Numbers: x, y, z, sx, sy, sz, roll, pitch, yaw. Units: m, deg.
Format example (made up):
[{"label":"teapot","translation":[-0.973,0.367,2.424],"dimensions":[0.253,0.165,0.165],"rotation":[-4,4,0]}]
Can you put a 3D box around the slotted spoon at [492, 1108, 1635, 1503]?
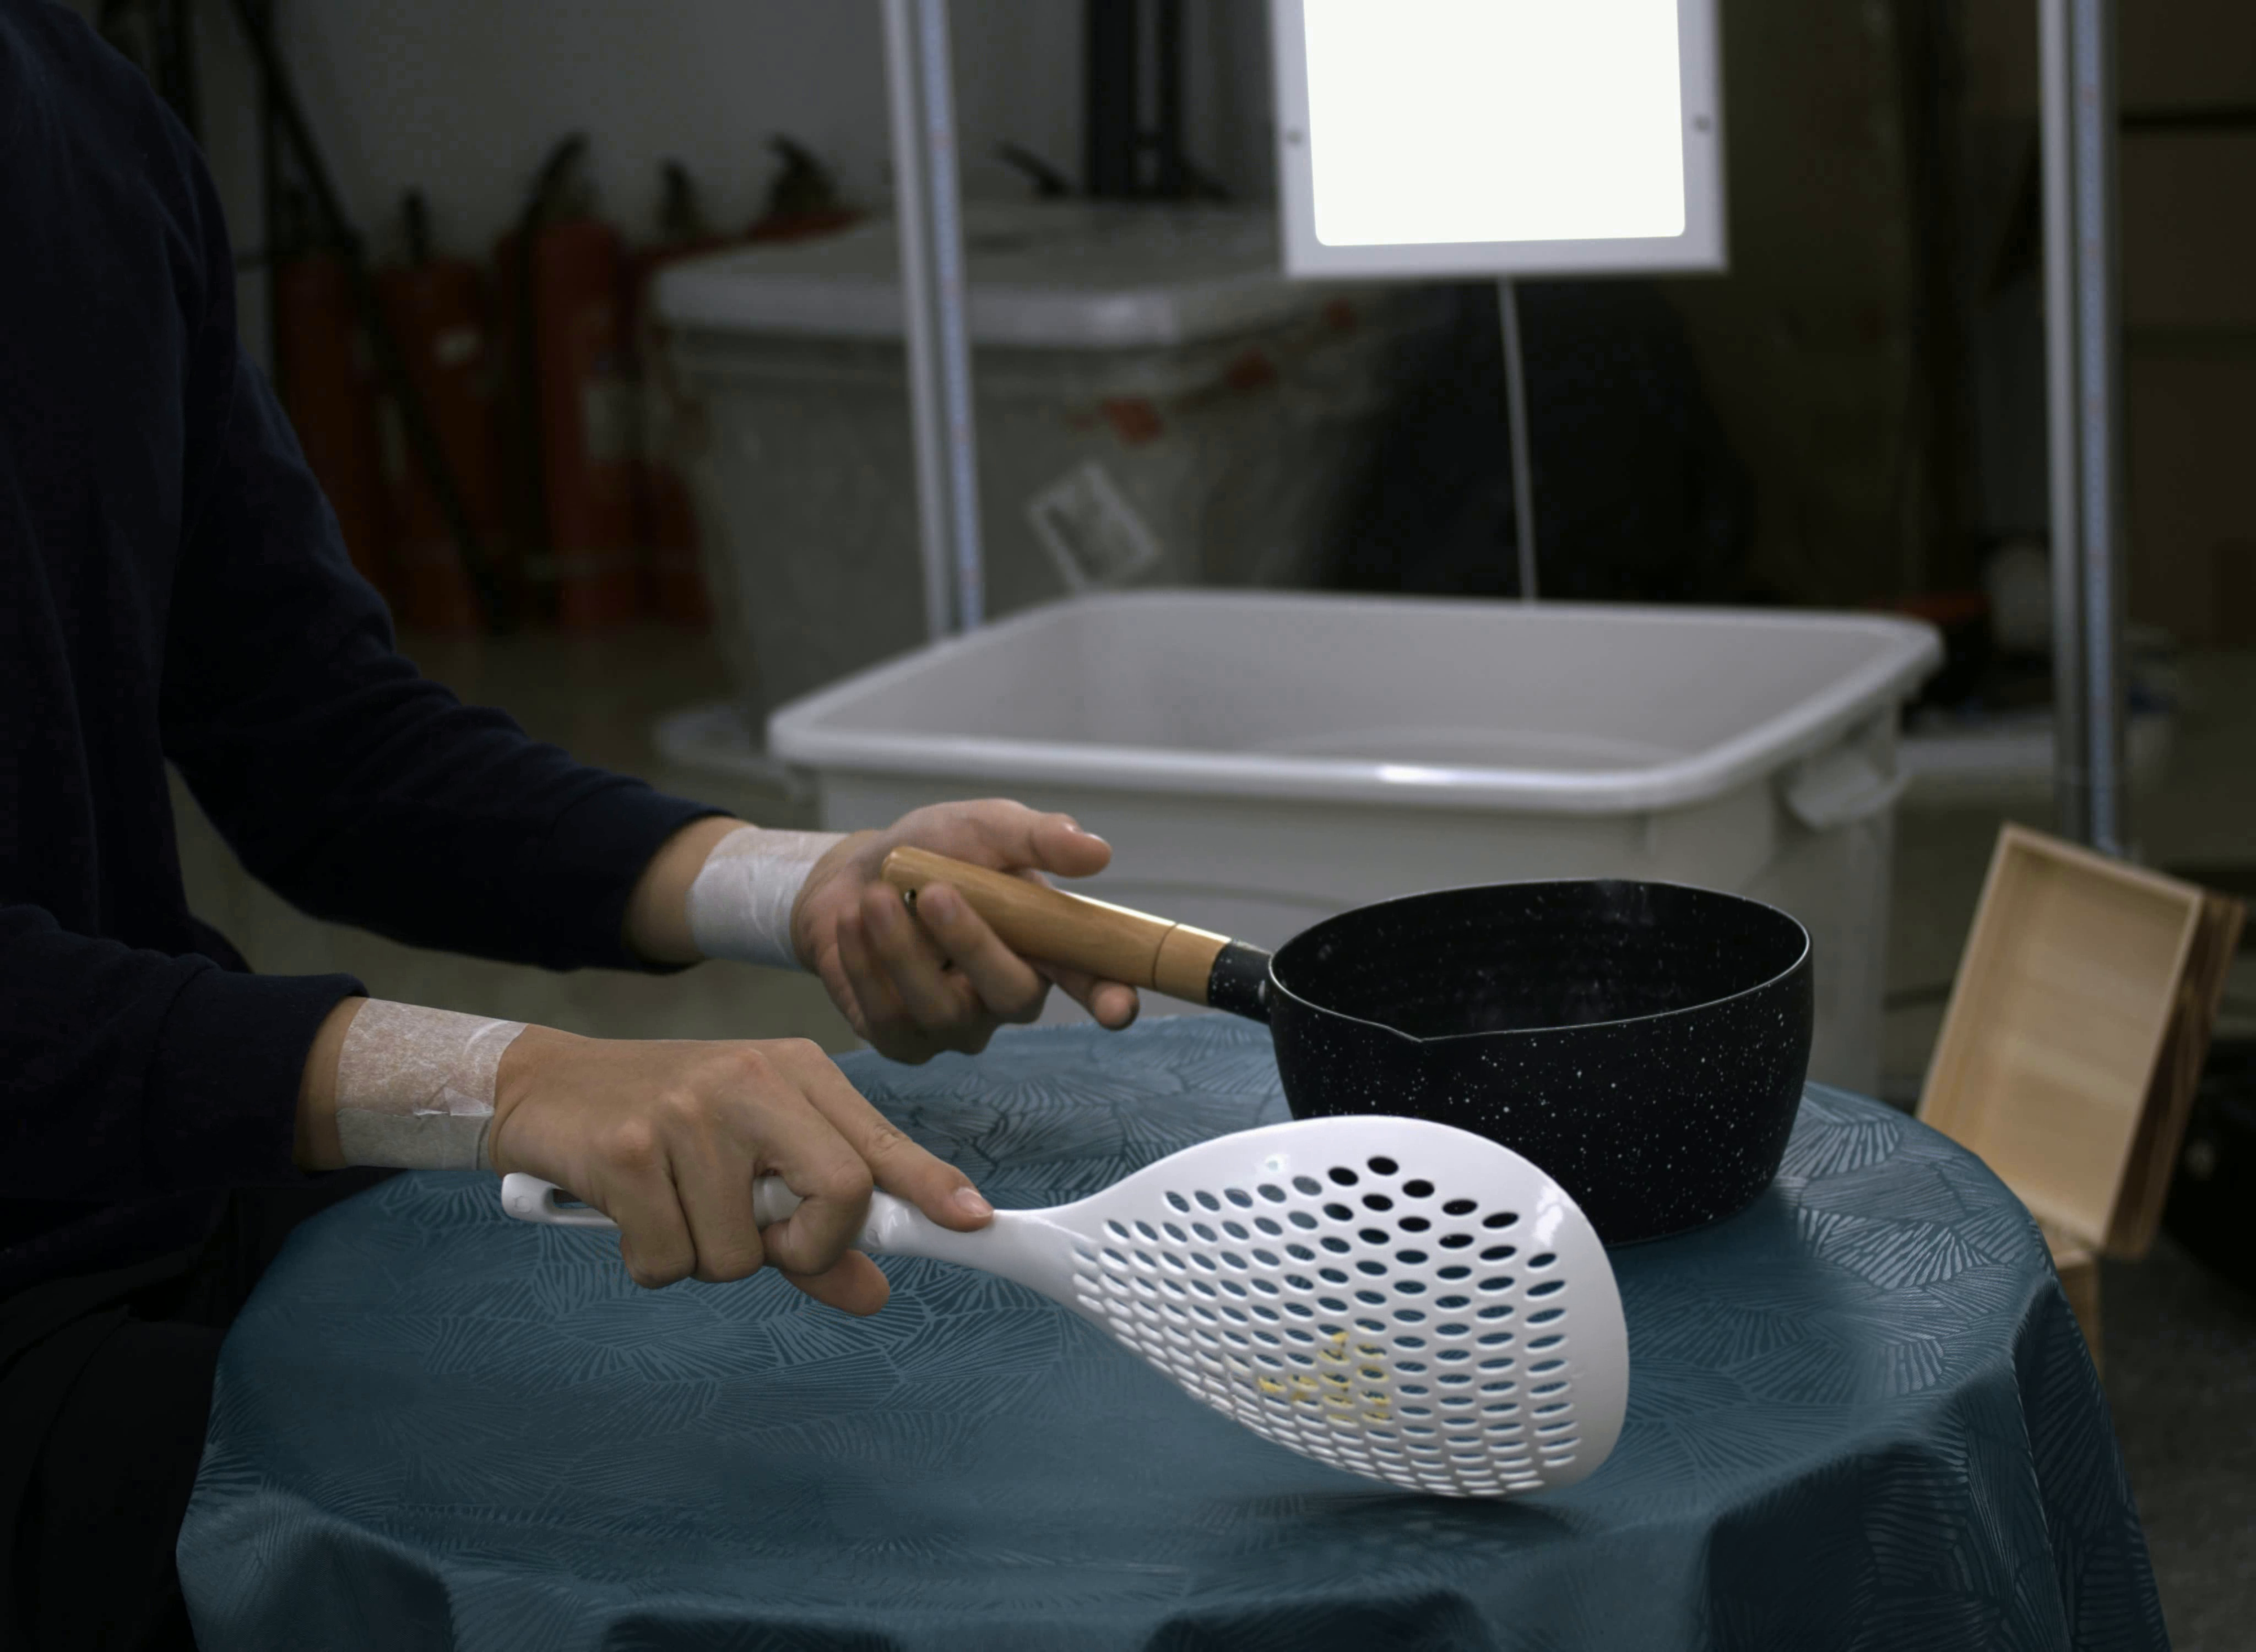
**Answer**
[{"label":"slotted spoon","translation":[-0.023,0.127,1.593],"dimensions":[0.353,0.137,0.049],"rotation":[11,37,26]}]

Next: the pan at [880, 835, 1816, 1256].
[{"label":"pan","translation":[0.069,0.067,1.886],"dimensions":[0.348,0.108,0.203],"rotation":[4,17,26]}]
